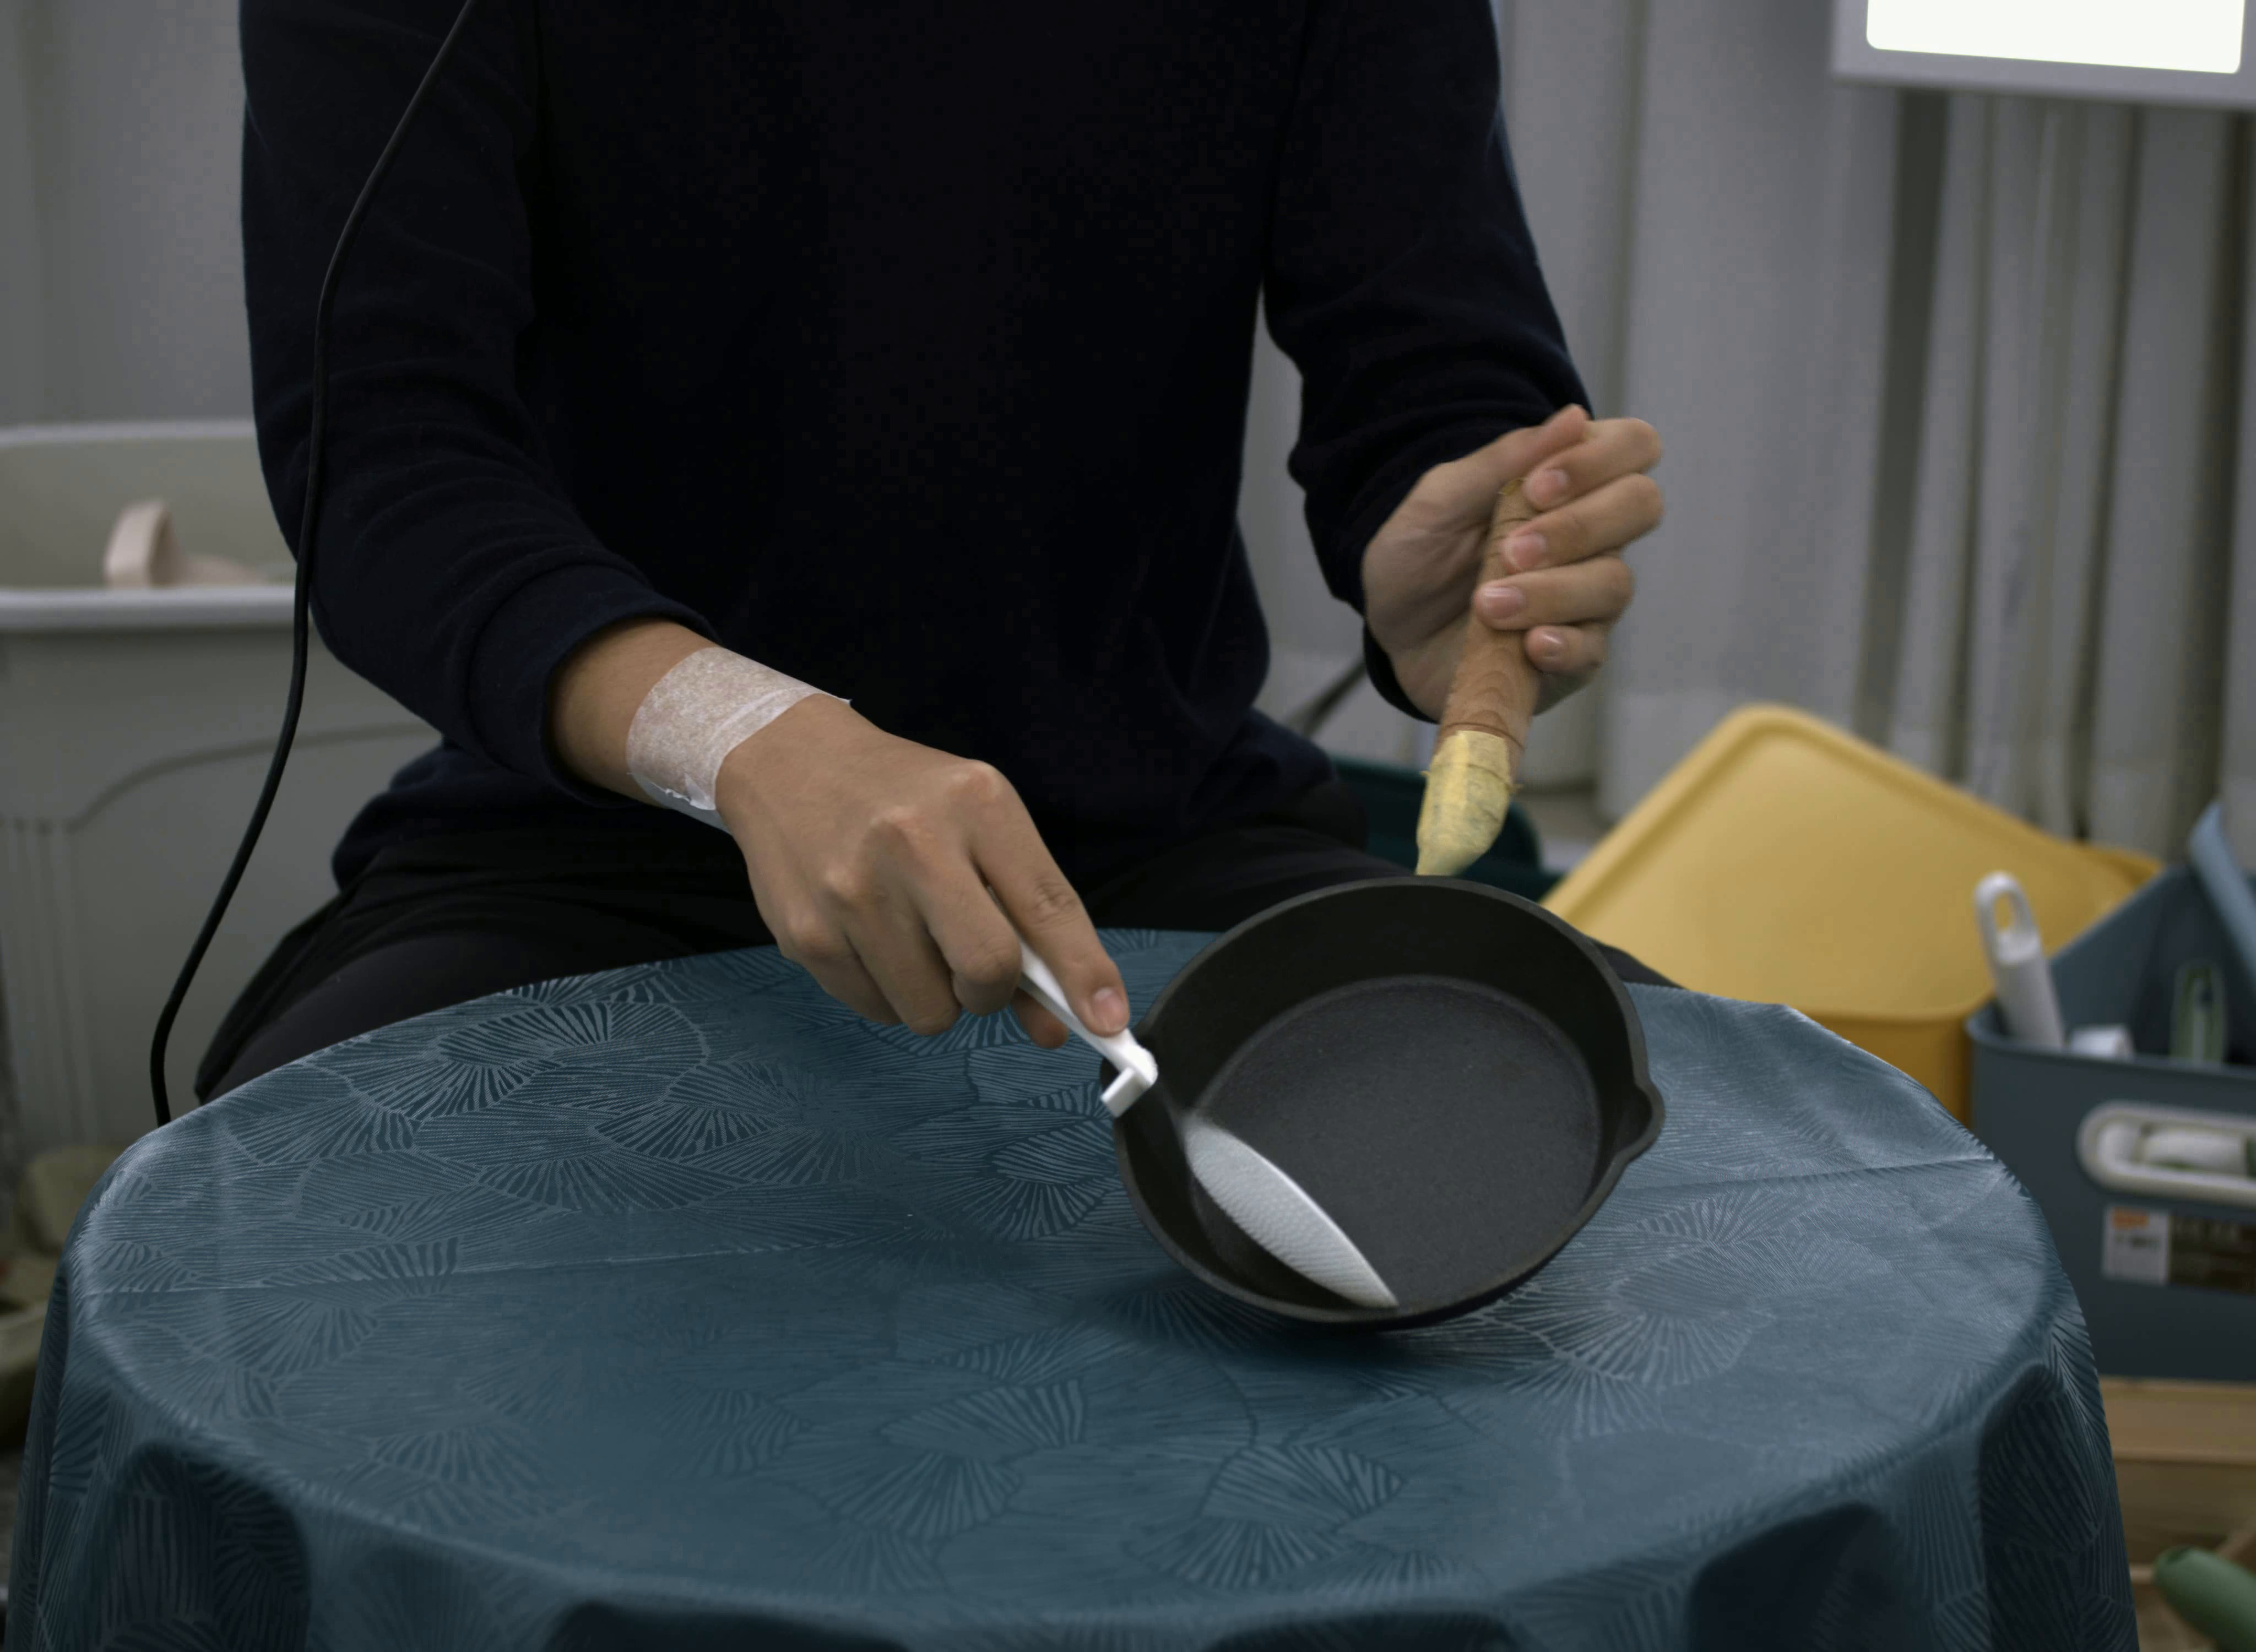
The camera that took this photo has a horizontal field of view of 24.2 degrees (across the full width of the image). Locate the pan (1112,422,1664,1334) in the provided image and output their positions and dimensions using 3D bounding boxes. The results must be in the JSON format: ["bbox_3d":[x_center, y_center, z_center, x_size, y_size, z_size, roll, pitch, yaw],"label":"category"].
[{"bbox_3d":[0.099,0.014,1.573,0.167,0.050,0.323,8,57,19],"label":"pan"}]

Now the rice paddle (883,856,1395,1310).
[{"bbox_3d":[0.007,0.076,1.527,0.203,0.029,0.069,39,-9,29],"label":"rice paddle"}]
